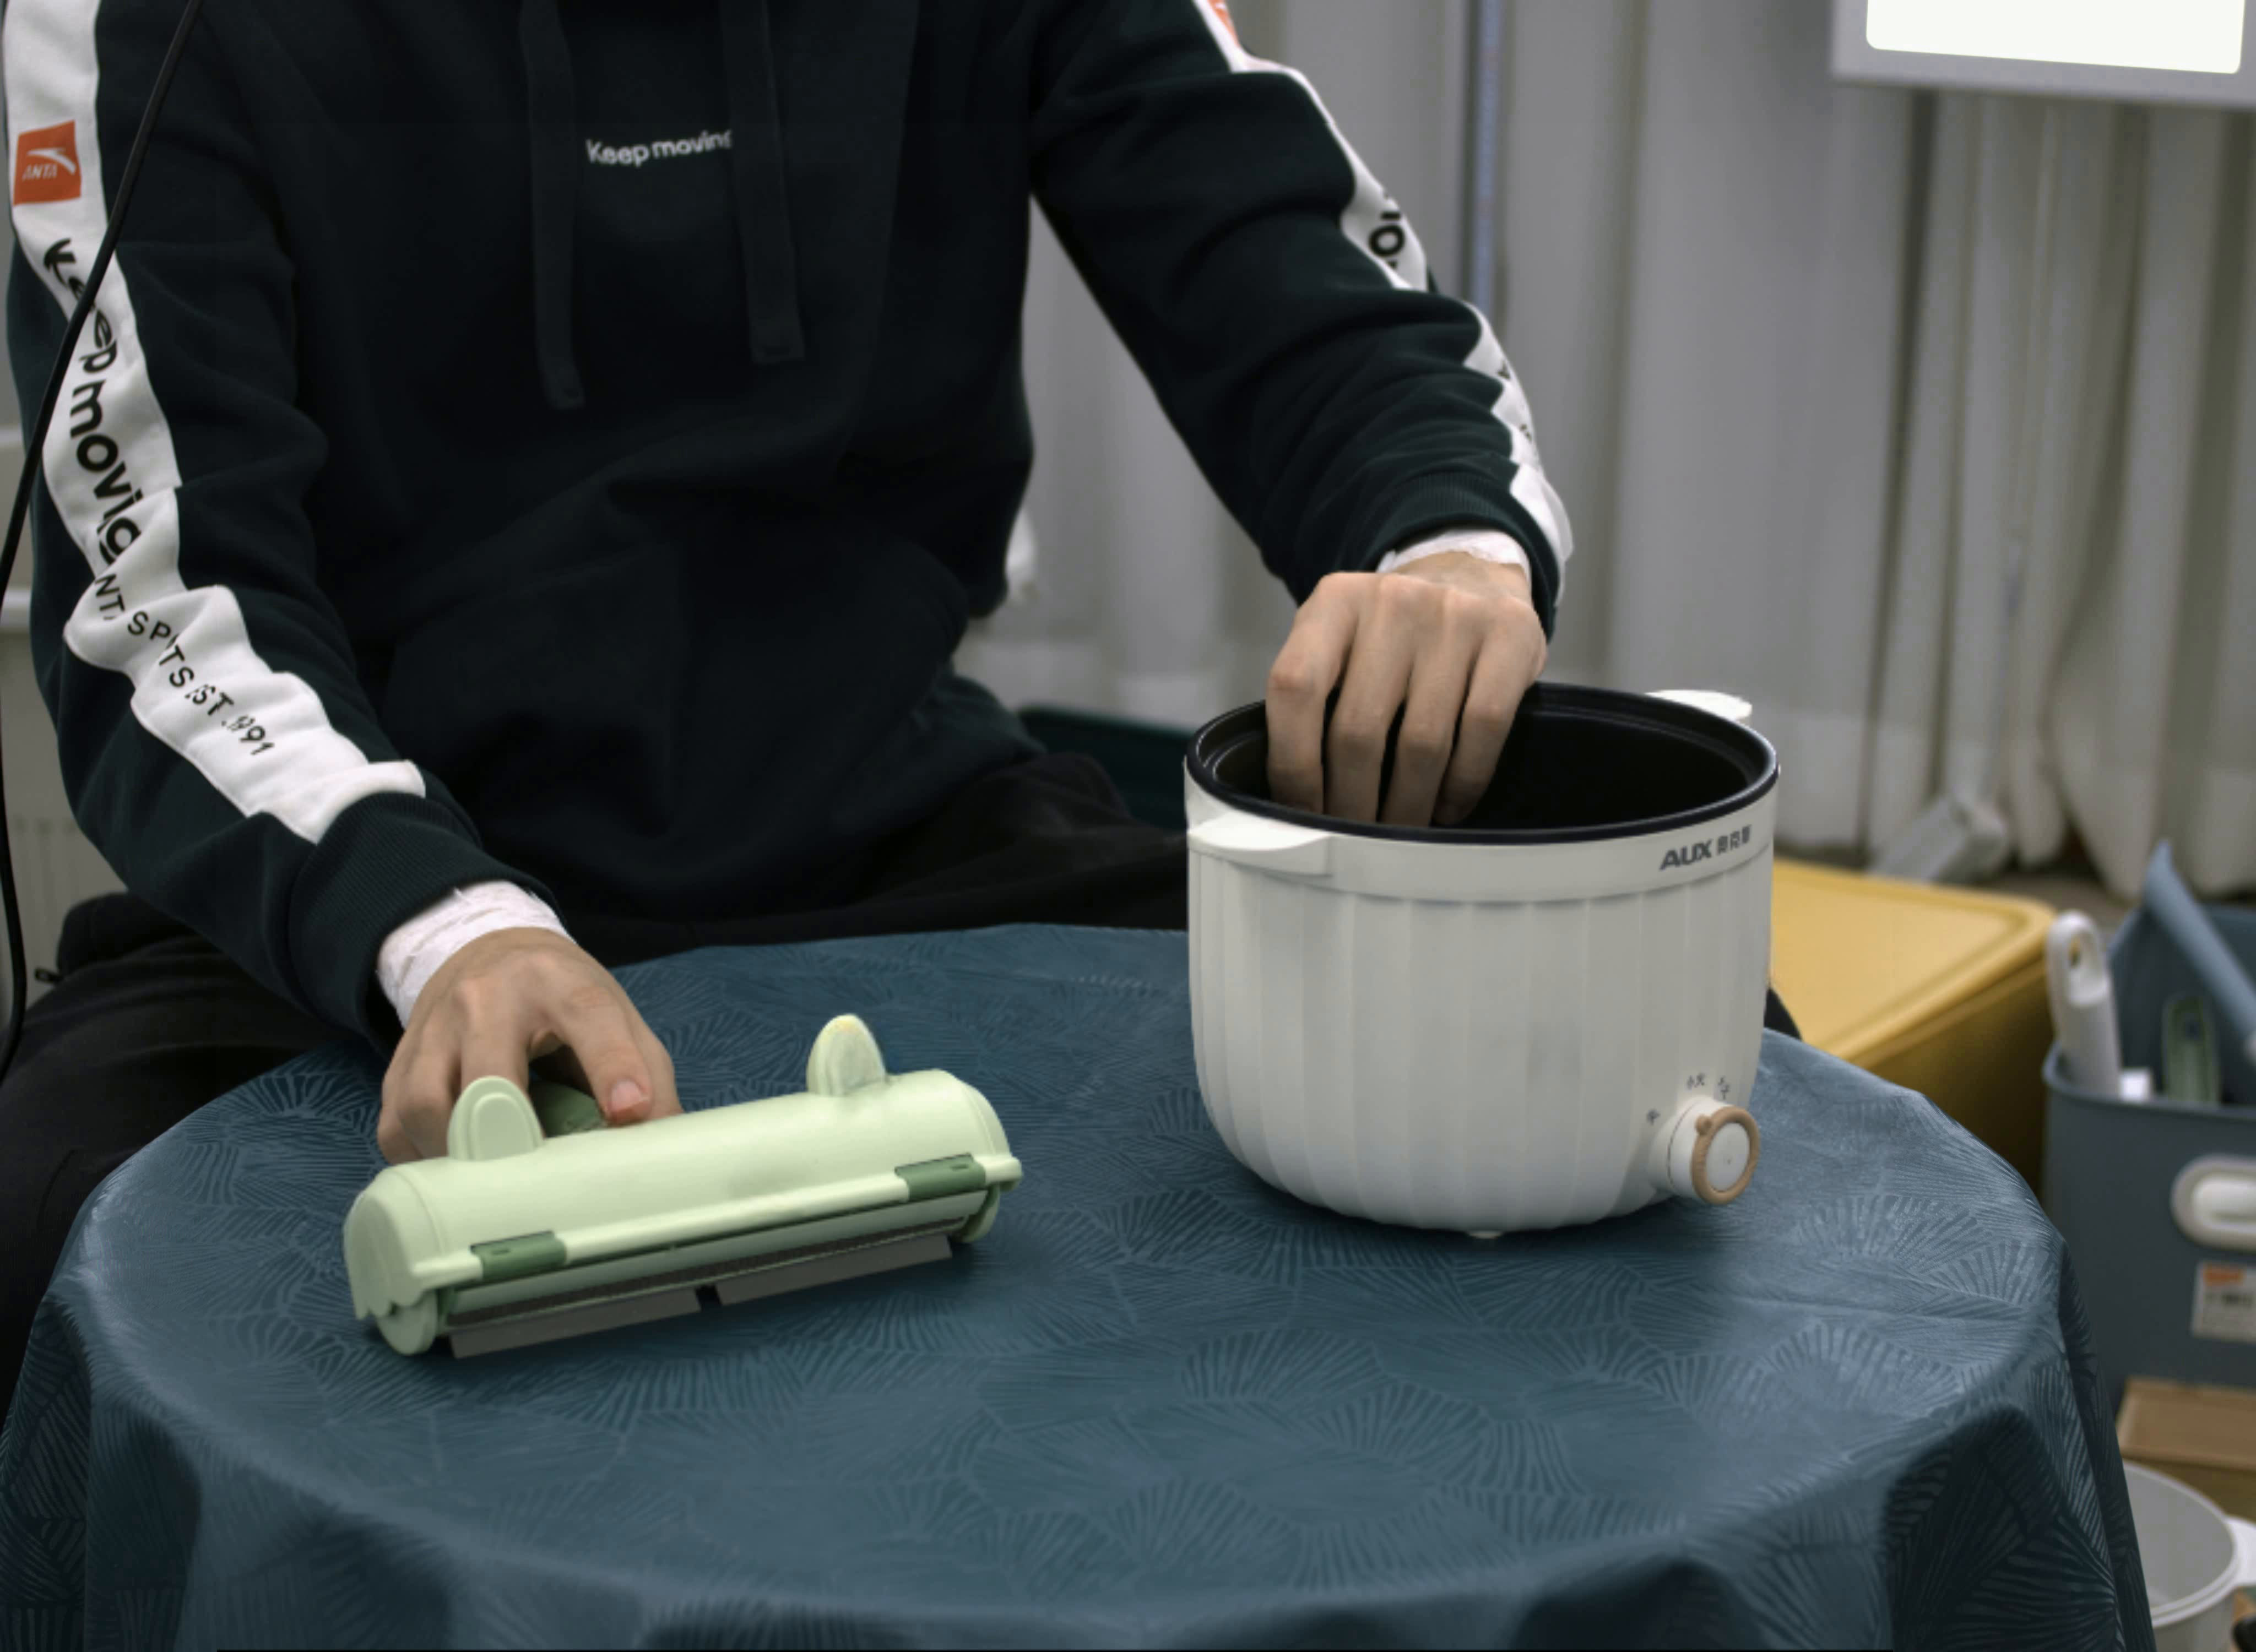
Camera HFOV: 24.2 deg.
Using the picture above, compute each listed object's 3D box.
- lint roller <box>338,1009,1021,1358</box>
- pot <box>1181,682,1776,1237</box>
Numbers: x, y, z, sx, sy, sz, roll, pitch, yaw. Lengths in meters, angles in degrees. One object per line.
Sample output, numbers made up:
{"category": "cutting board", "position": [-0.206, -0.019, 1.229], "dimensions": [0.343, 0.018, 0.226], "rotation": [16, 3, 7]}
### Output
{"category": "lint roller", "position": [-0.157, 0.086, 1.565], "dimensions": [0.199, 0.083, 0.181], "rotation": [-9, 24, -30]}
{"category": "pot", "position": [0.112, 0.042, 1.618], "dimensions": [0.188, 0.144, 0.241], "rotation": [11, 20, 43]}
